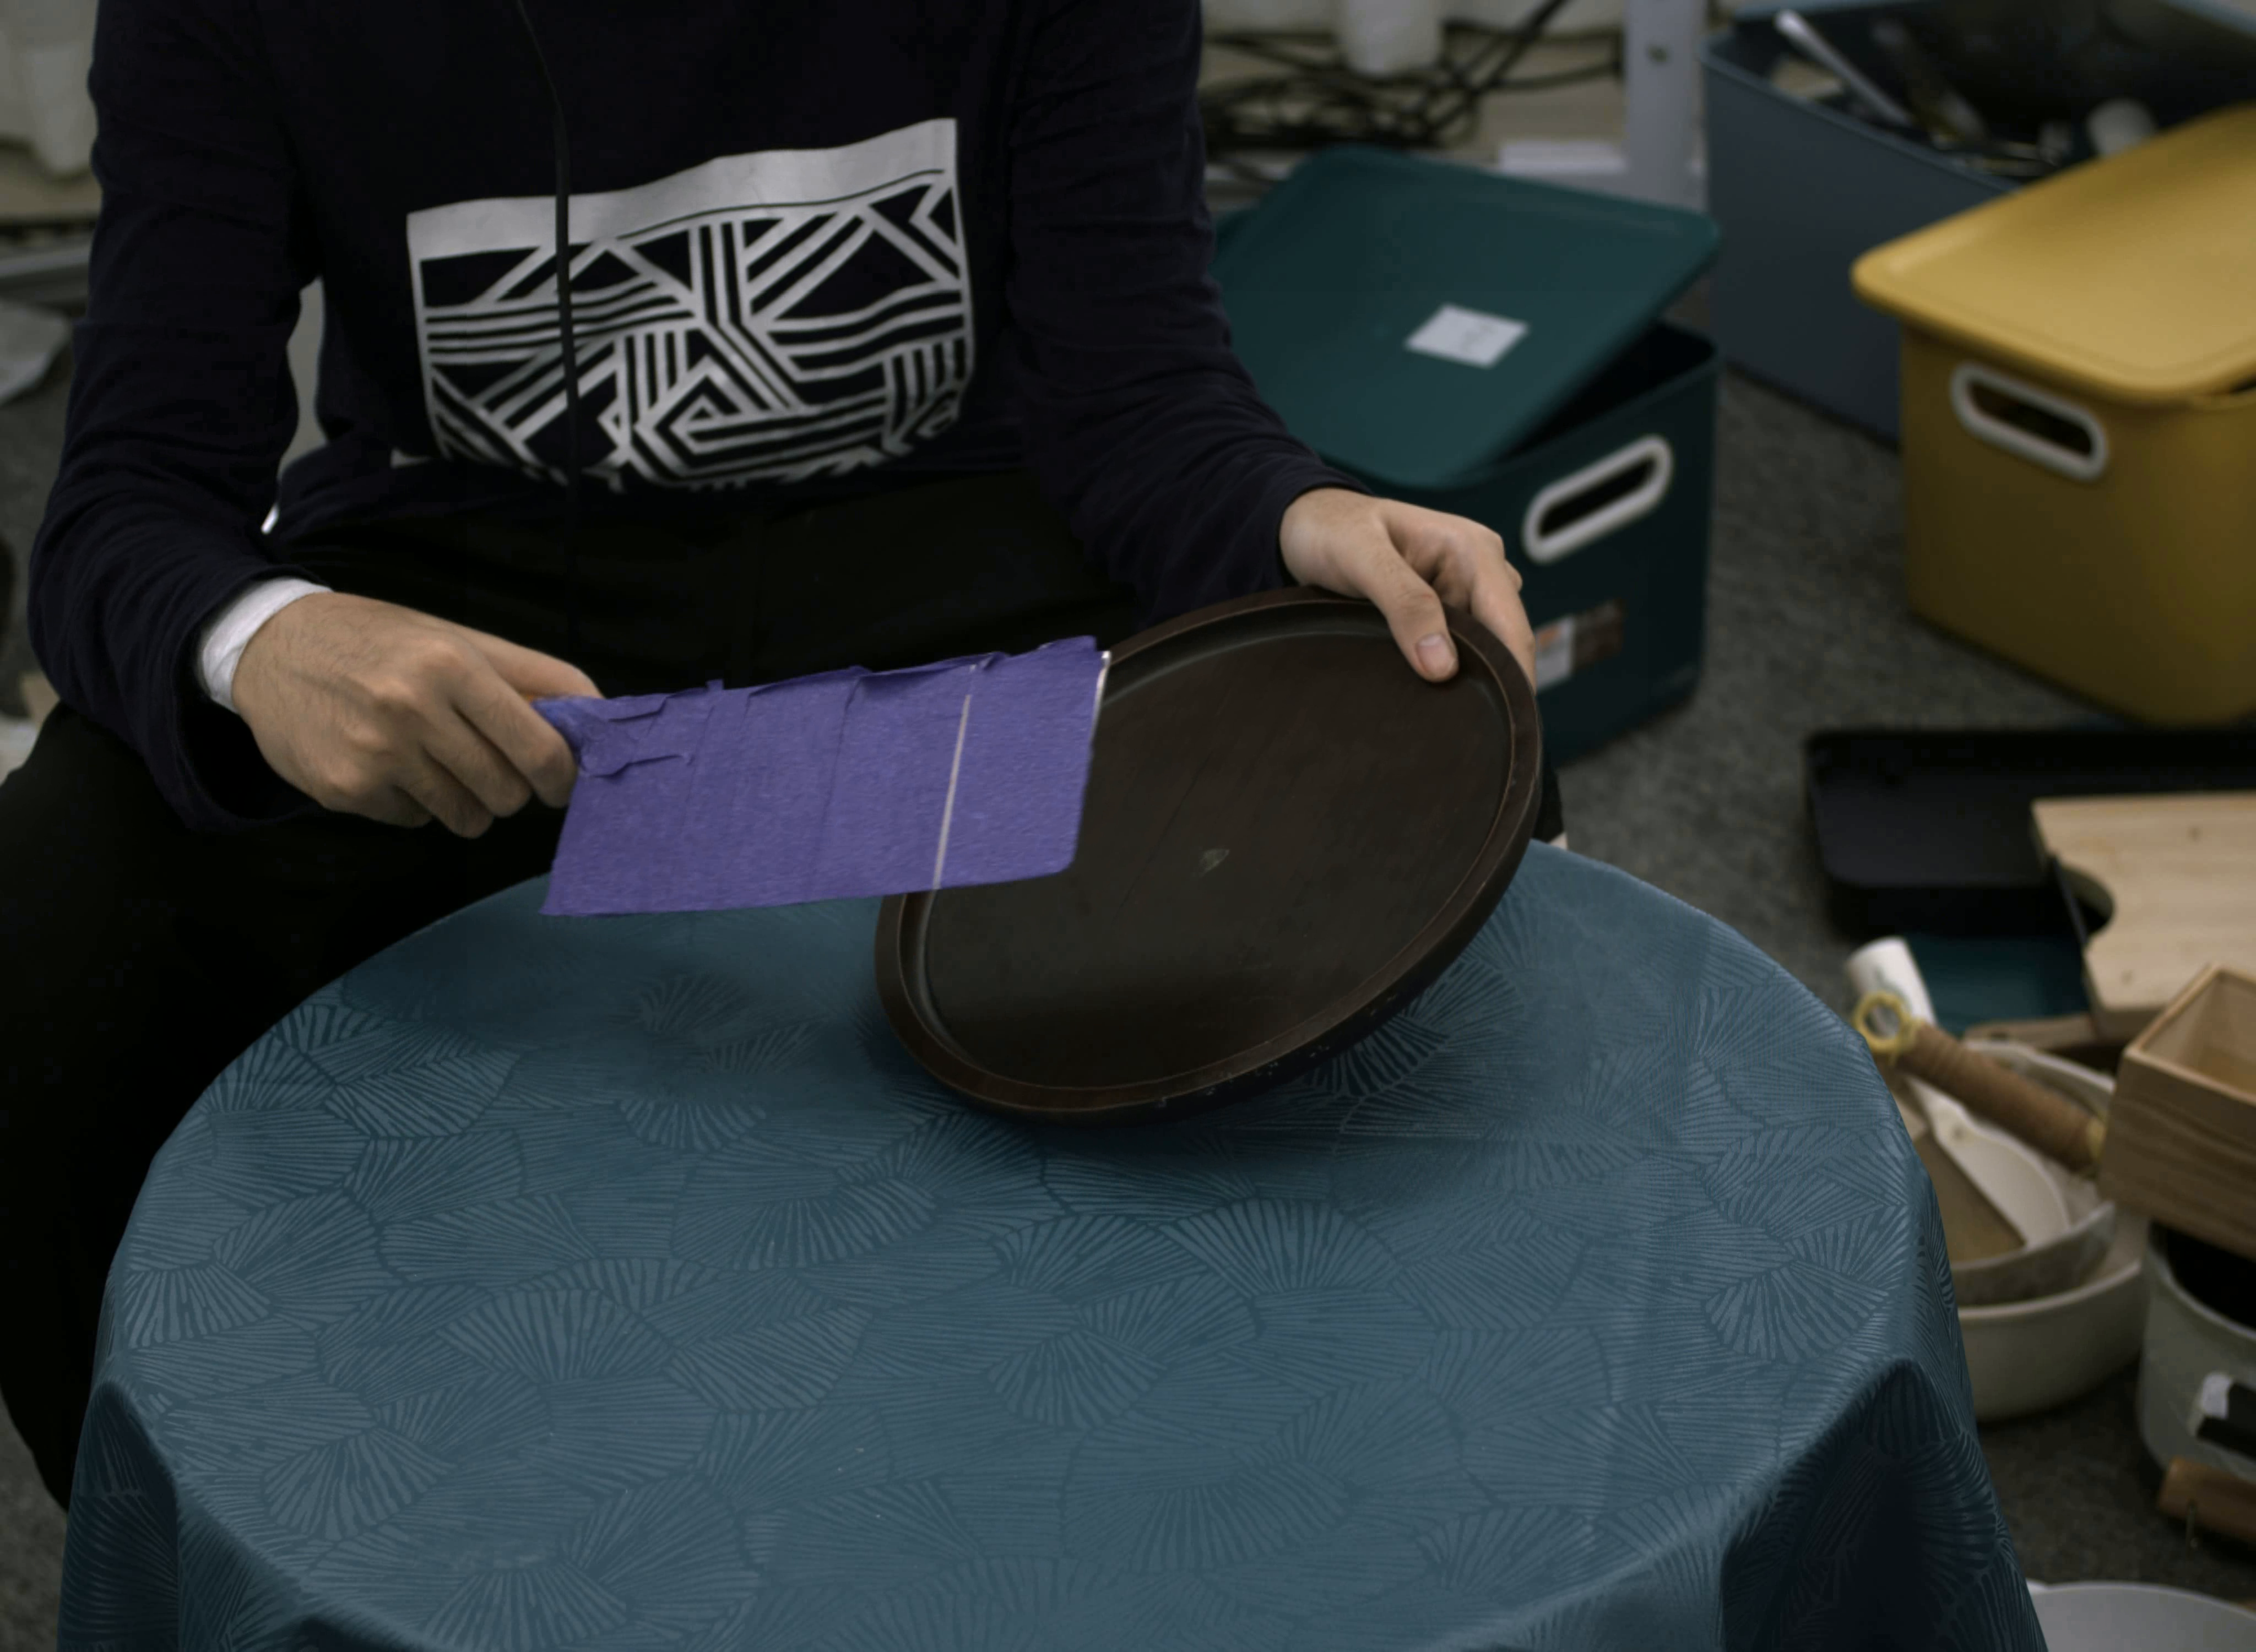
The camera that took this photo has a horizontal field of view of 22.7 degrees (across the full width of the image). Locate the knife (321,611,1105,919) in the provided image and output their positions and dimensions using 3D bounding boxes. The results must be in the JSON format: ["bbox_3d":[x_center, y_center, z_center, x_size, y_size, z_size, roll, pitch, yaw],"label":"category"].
[{"bbox_3d":[-0.152,-0.013,1.930,0.312,0.032,0.106,-8,53,28],"label":"knife"}]

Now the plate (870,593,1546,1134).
[{"bbox_3d":[0.028,0.012,1.950,0.252,0.029,0.260,-18,39,15],"label":"plate"}]
